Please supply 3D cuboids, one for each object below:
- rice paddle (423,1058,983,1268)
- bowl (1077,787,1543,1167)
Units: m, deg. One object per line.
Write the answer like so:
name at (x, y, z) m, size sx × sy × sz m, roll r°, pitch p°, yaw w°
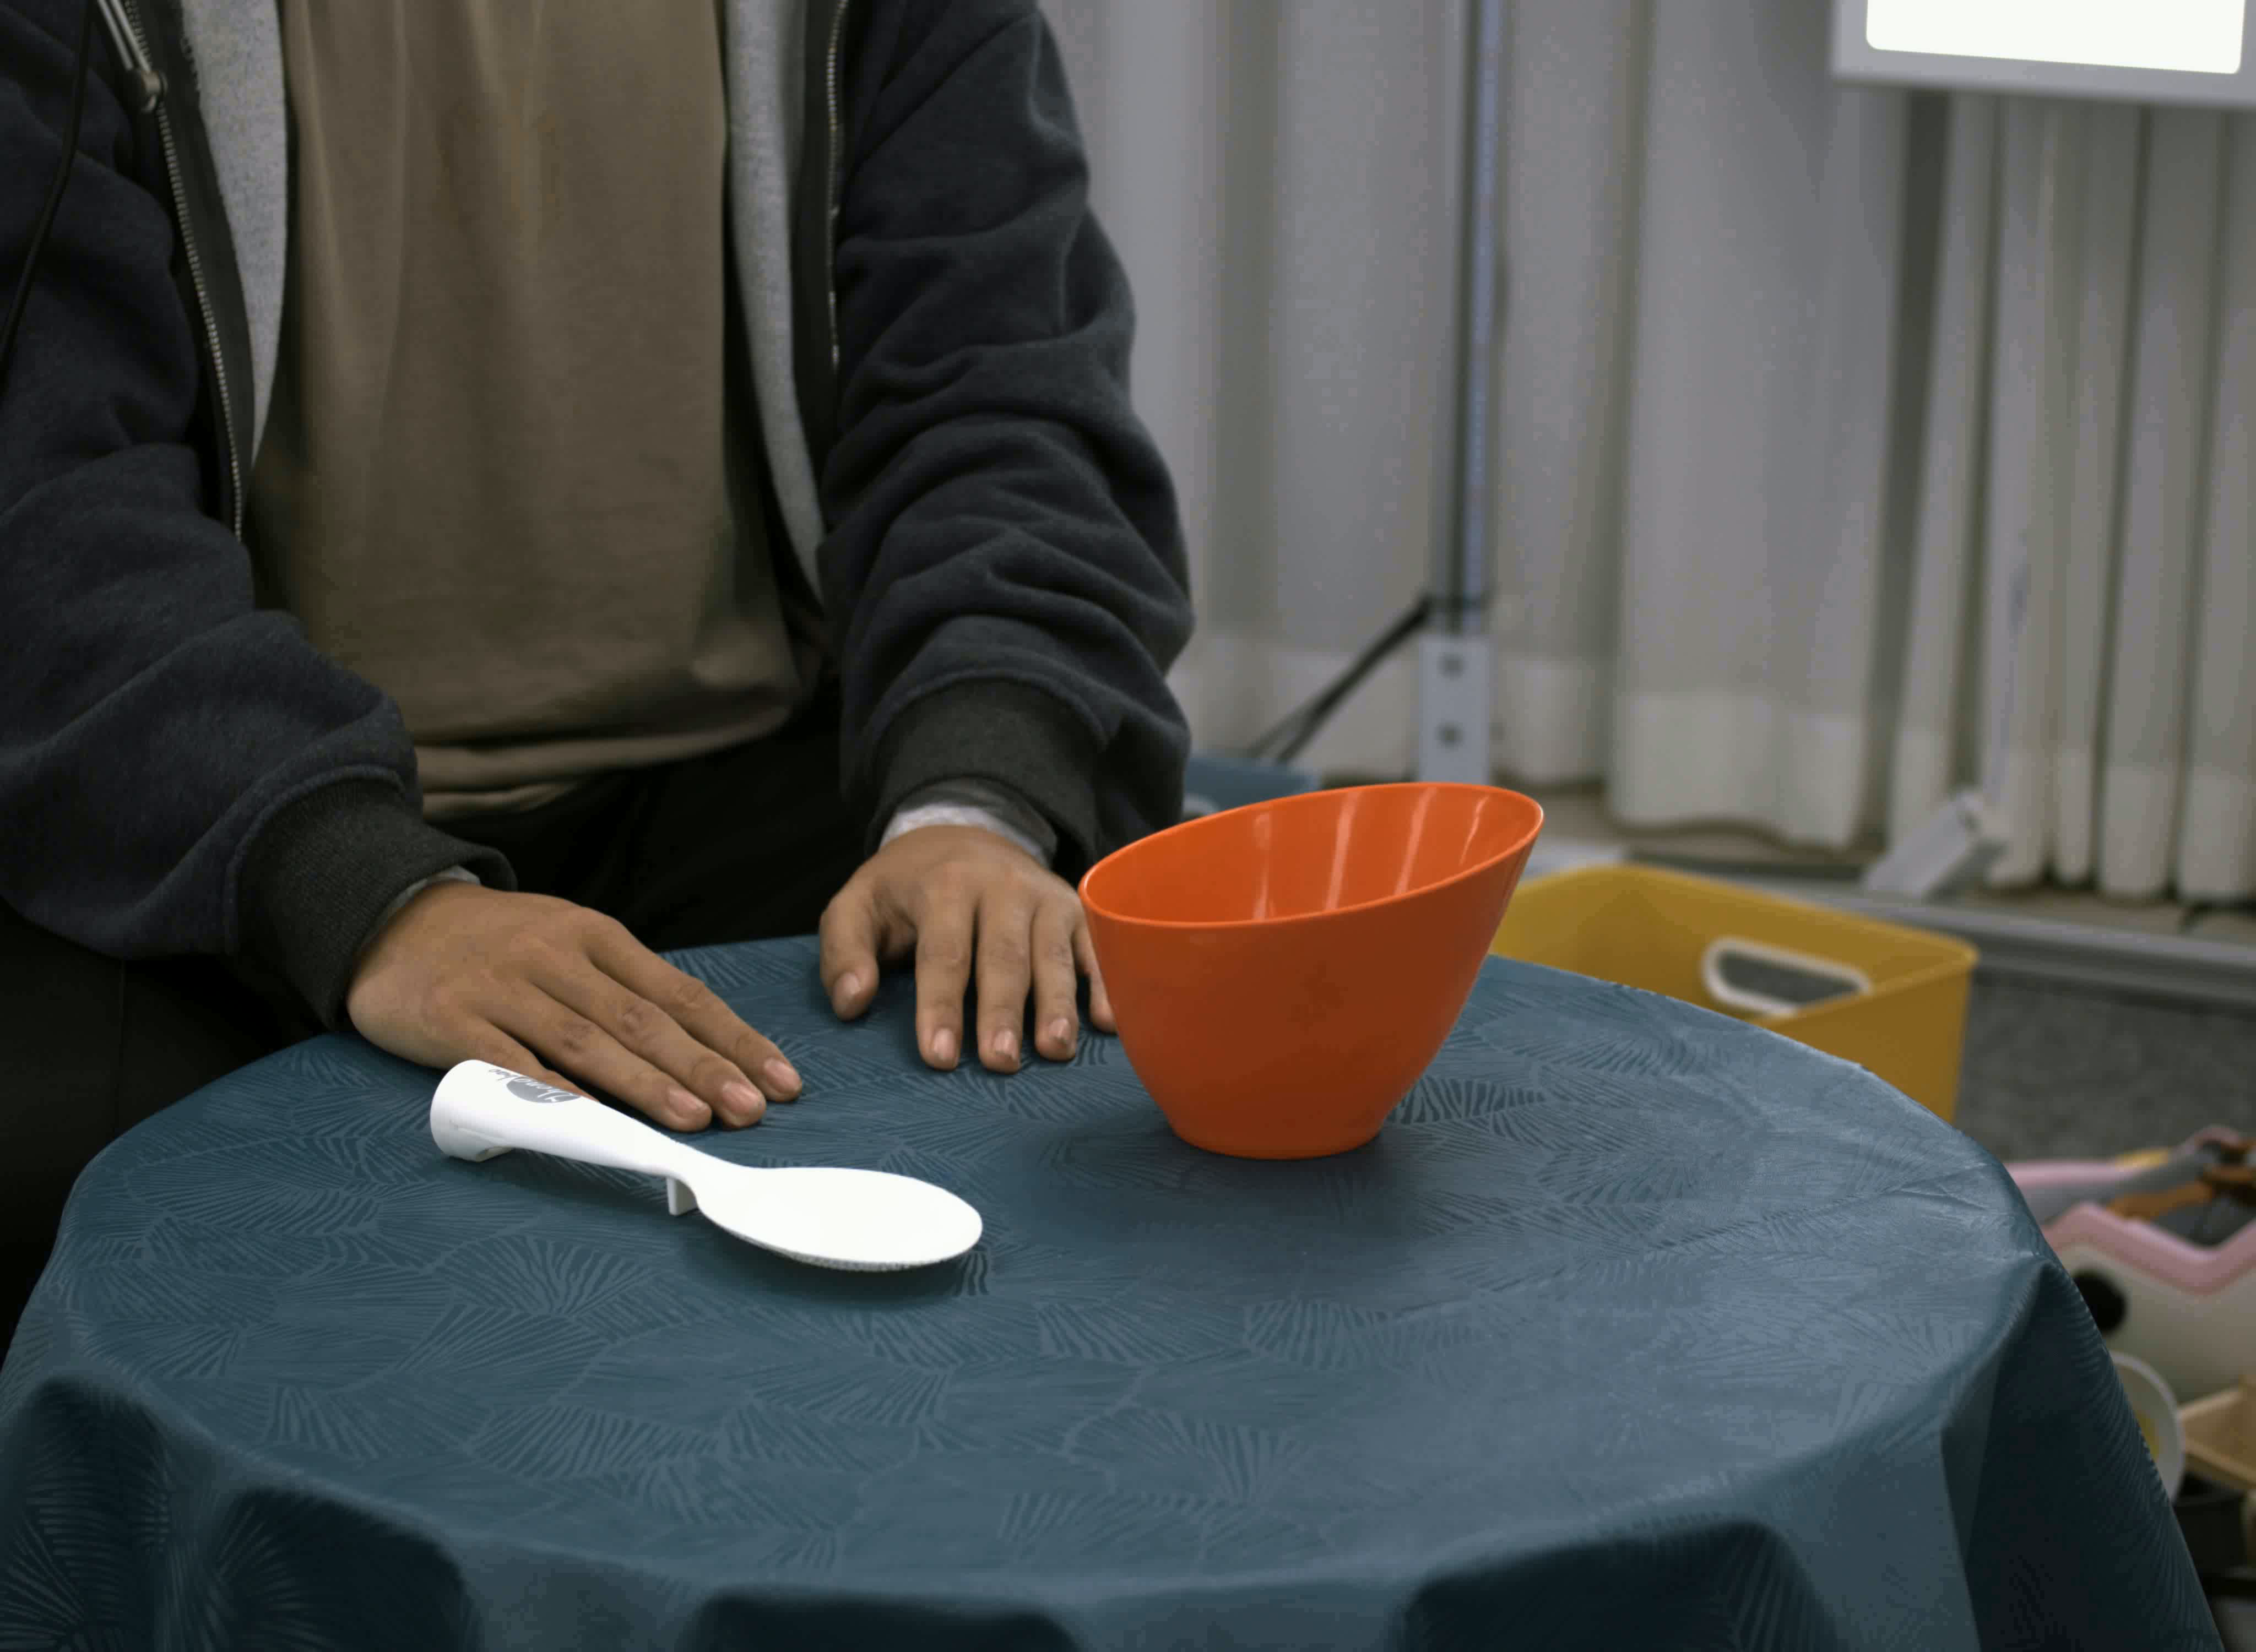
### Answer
rice paddle at (-0.129, 0.103, 1.593) m, size 0.202 × 0.029 × 0.069 m, roll 12°, pitch 20°, yaw 35°
bowl at (0.057, 0.049, 1.666) m, size 0.147 × 0.105 × 0.147 m, roll -1°, pitch 16°, yaw 1°
